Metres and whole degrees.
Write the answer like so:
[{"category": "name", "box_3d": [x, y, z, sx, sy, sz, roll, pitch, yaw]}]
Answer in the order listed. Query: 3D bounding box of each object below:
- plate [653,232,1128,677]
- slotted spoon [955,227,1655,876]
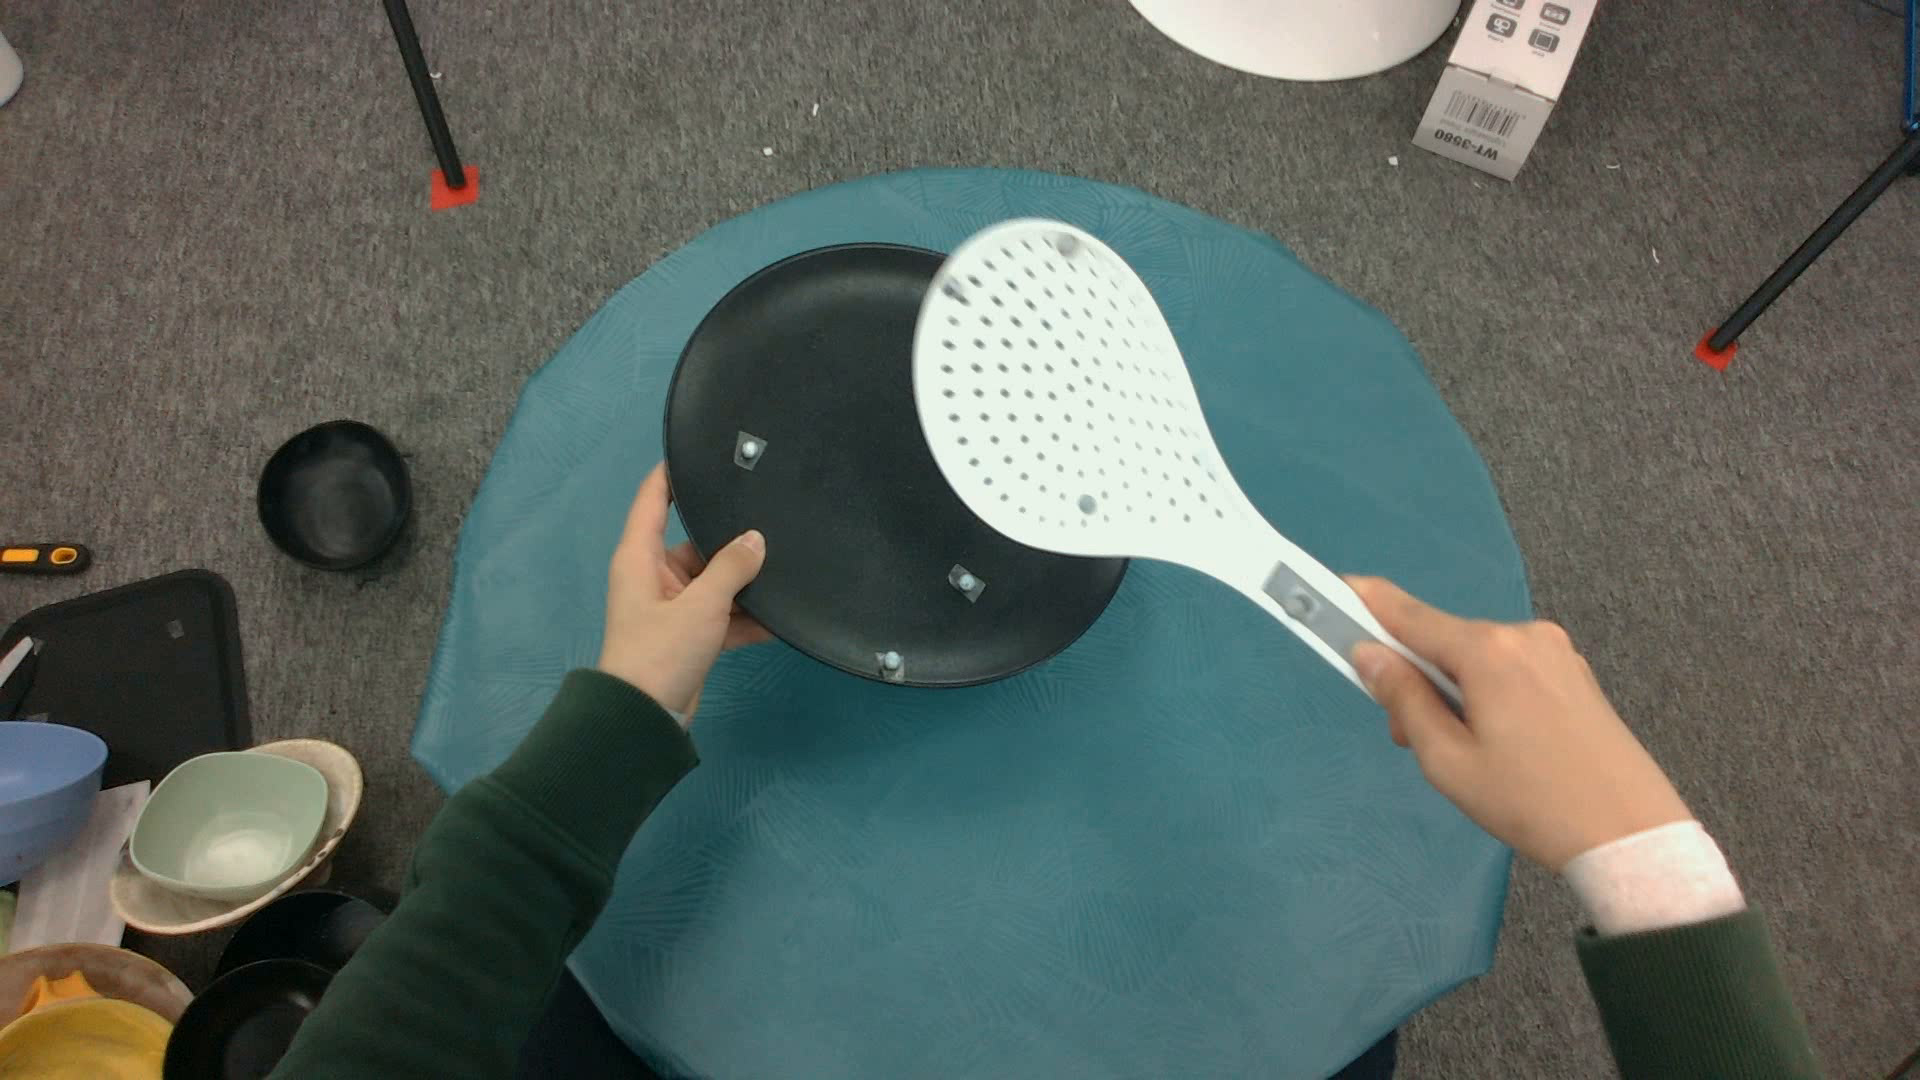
[{"category": "plate", "box_3d": [-0.030, -0.046, 0.684, 0.244, 0.023, 0.245, 8, 64, -17]}, {"category": "slotted spoon", "box_3d": [0.122, -0.001, 0.554, 0.046, 0.135, 0.350, -12, 48, -42]}]
